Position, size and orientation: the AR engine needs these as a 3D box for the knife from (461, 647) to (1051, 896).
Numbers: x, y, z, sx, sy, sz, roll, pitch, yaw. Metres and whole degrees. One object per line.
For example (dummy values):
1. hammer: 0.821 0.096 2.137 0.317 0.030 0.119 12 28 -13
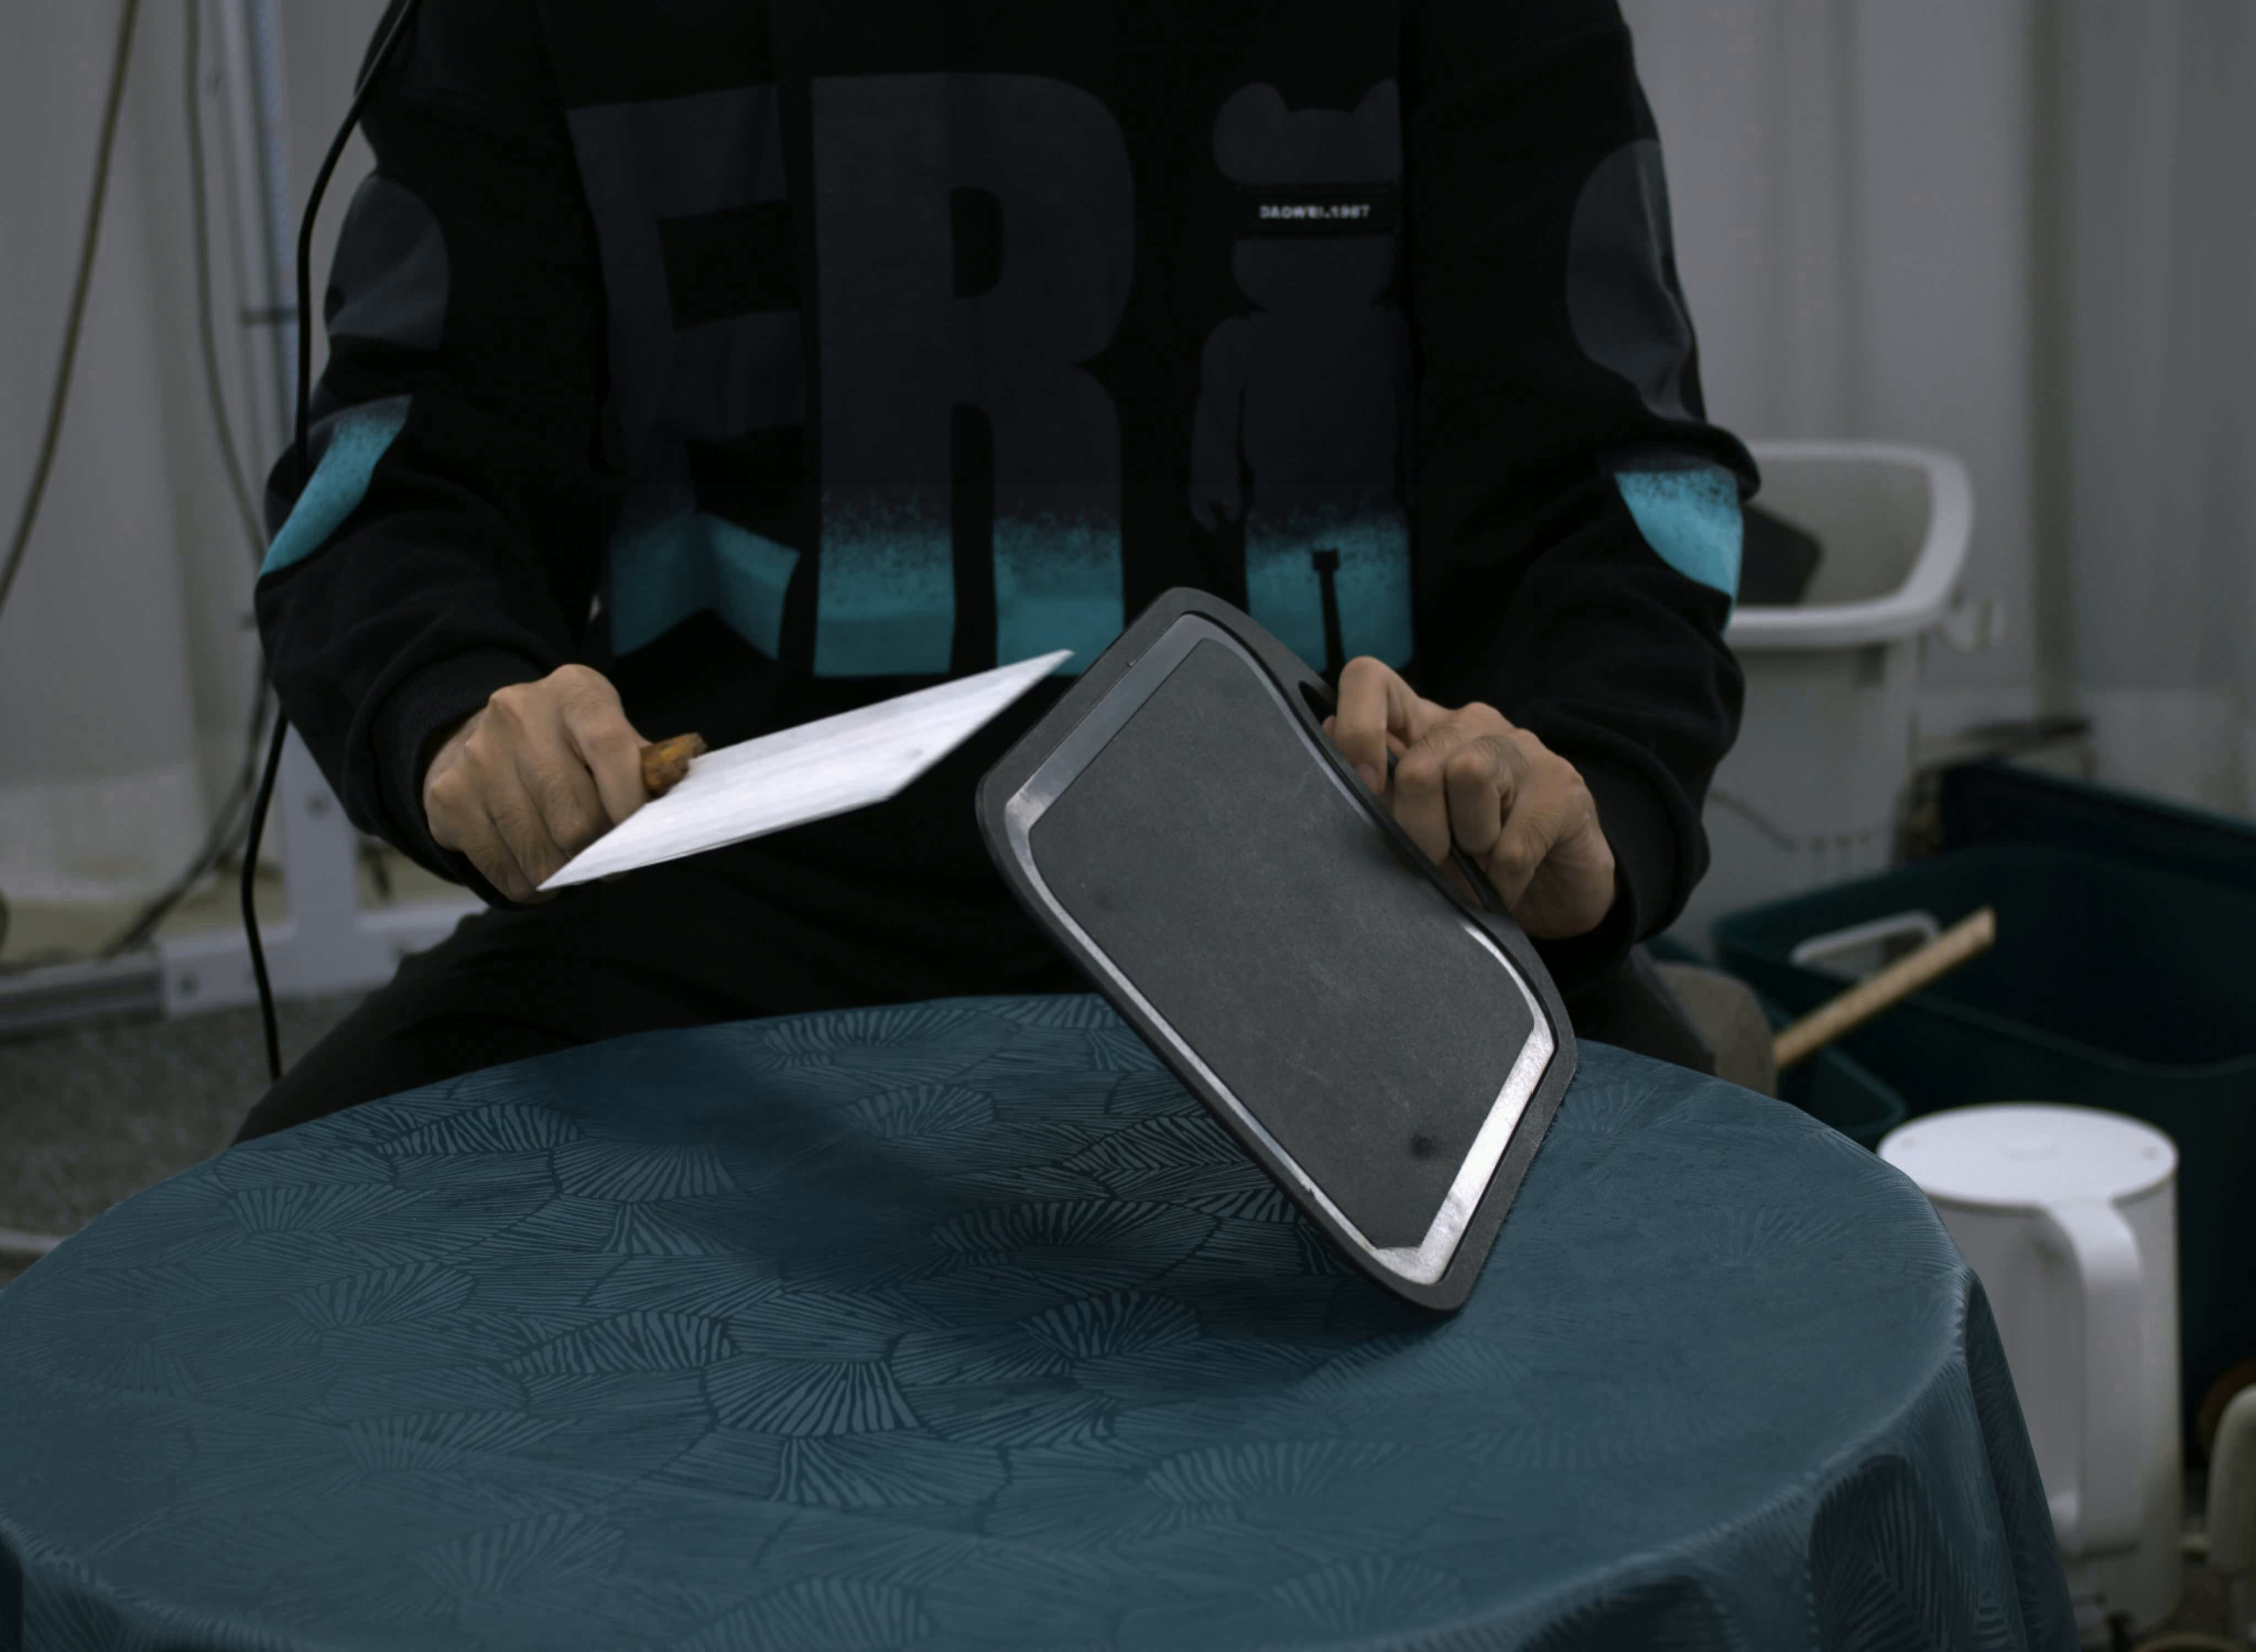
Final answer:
1. knife: -0.140 -0.009 1.748 0.093 0.021 0.305 -40 16 -36

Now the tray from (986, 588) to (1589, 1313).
1. tray: 0.058 0.027 1.707 0.010 0.211 0.327 -41 2 22
